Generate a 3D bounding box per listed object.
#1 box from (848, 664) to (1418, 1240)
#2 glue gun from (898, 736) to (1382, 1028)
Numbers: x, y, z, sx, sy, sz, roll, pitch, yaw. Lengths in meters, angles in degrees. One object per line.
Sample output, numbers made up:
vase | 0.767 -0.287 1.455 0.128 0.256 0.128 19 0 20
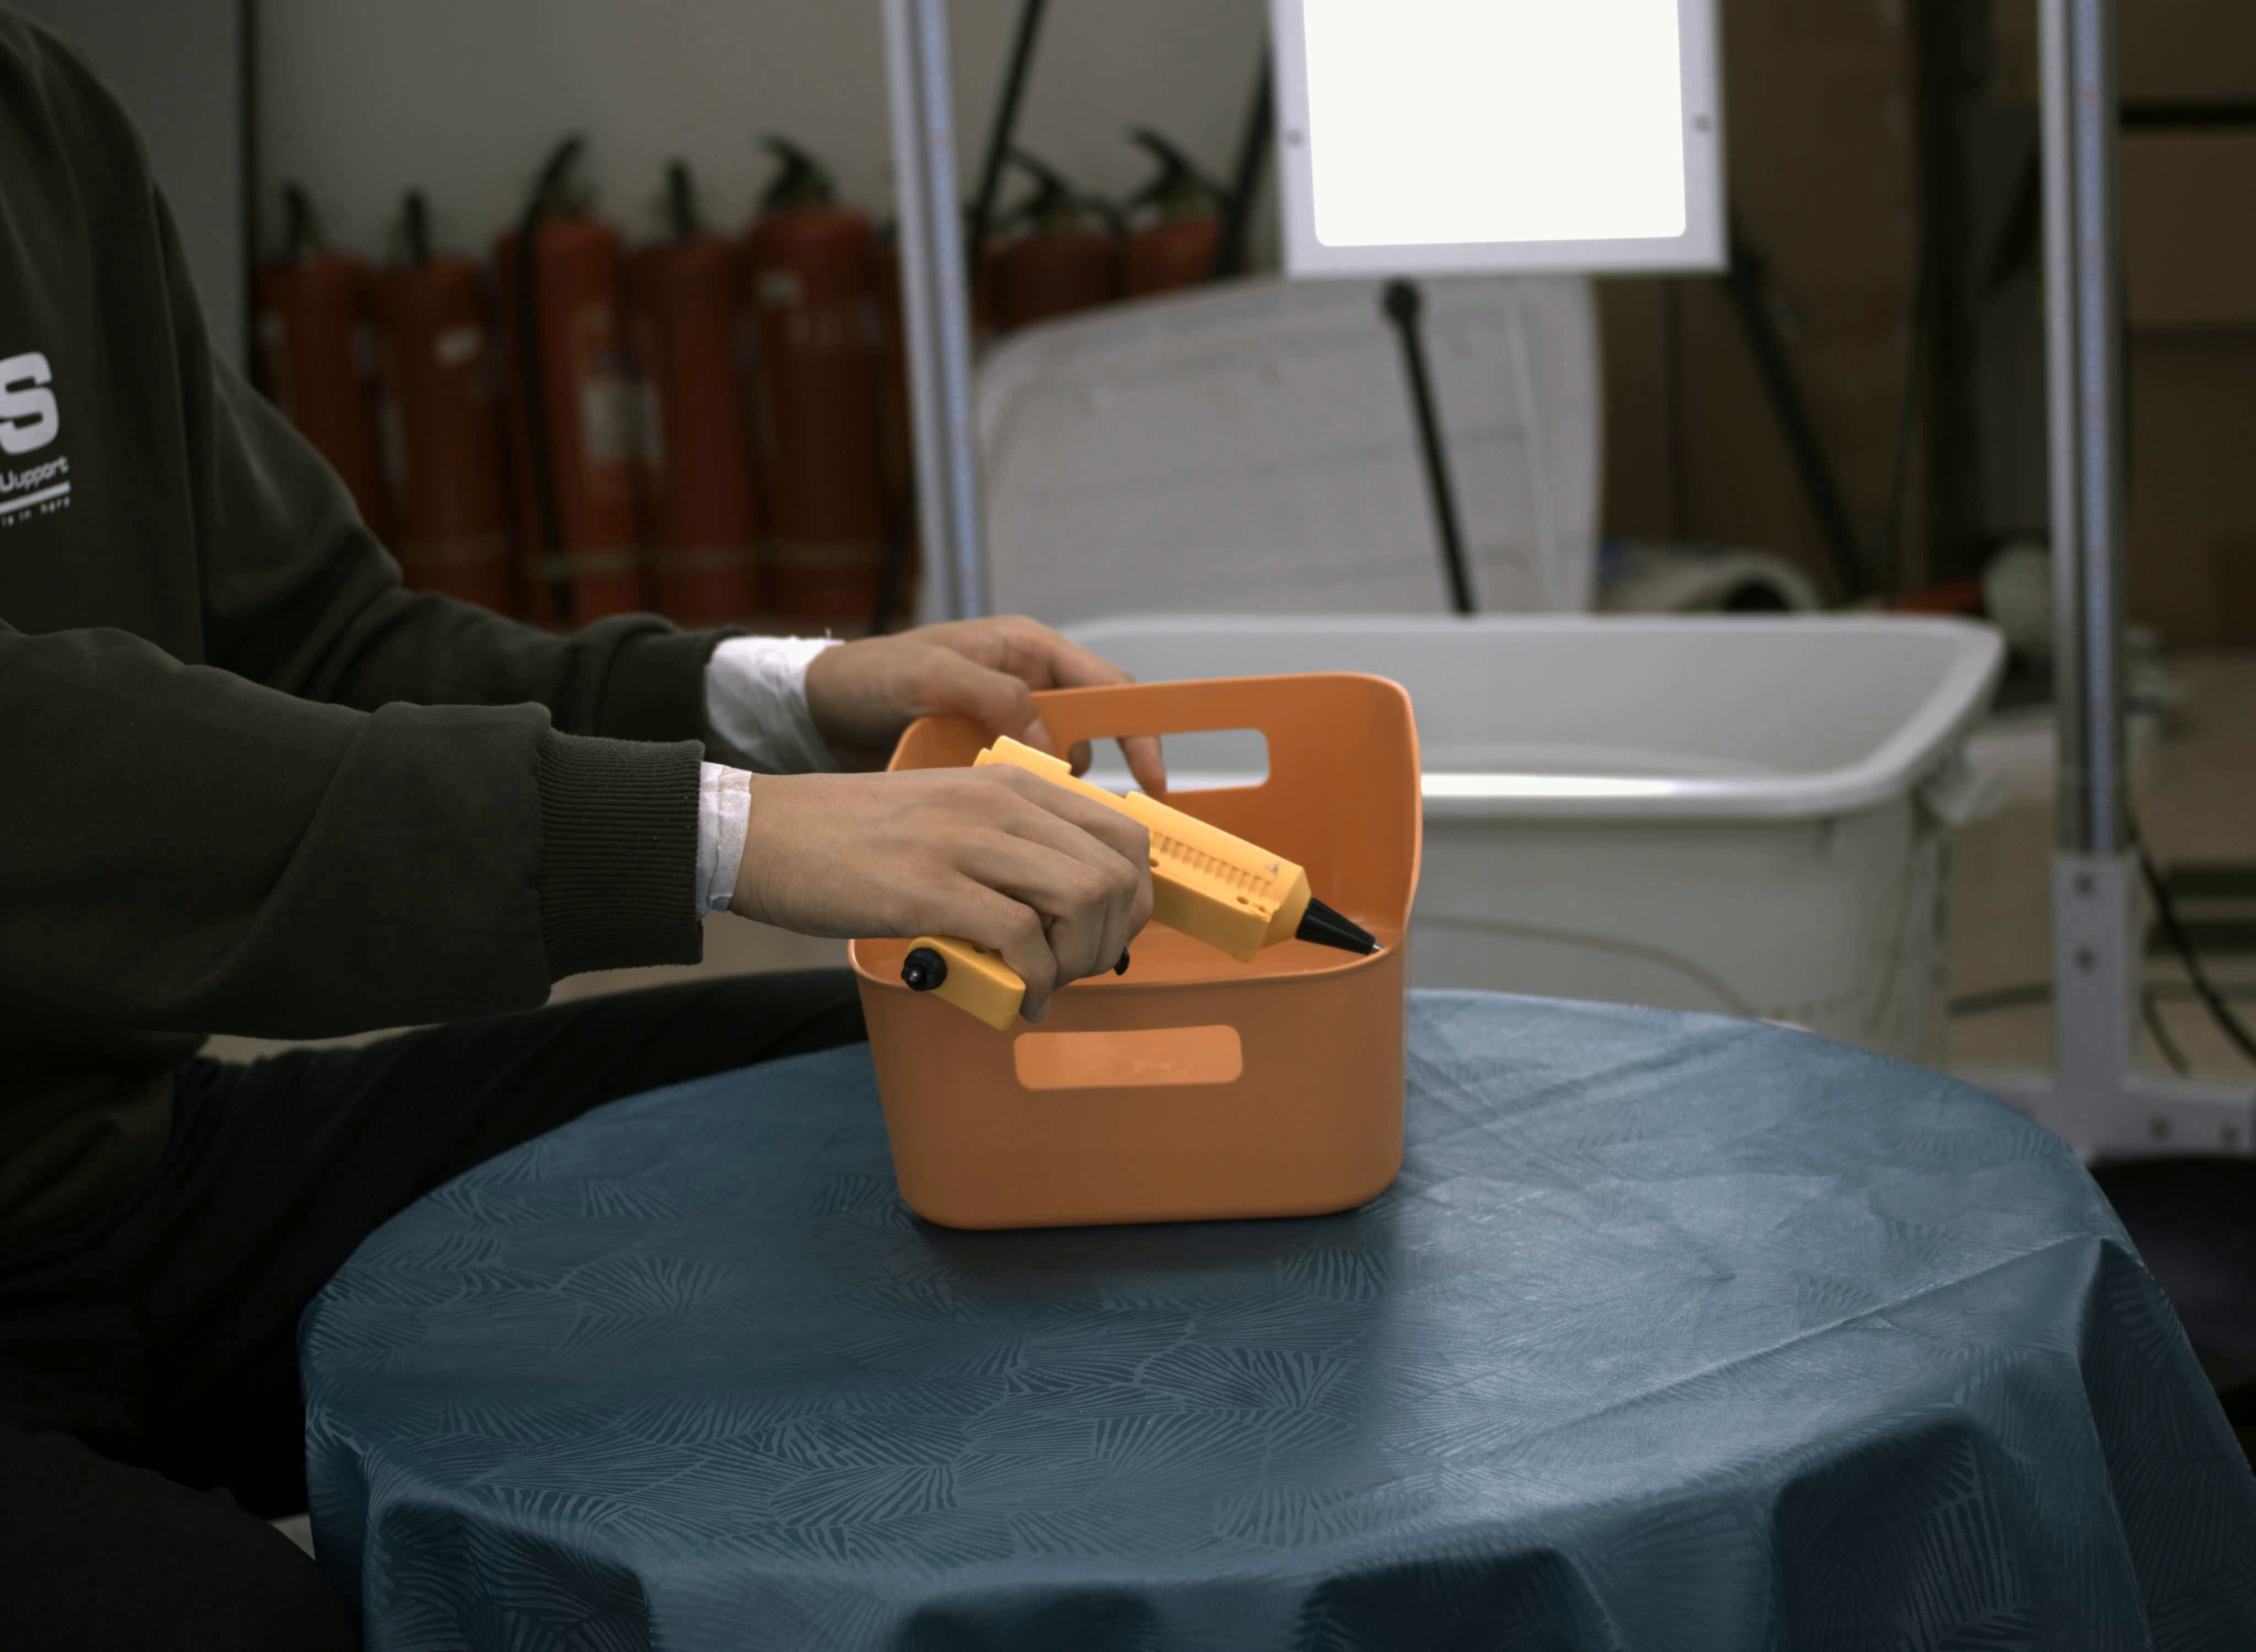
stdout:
box | 0.009 0.045 1.952 0.200 0.103 0.271 -5 24 6
glue gun | 0.008 0.036 1.787 0.151 0.031 0.131 20 35 -1
